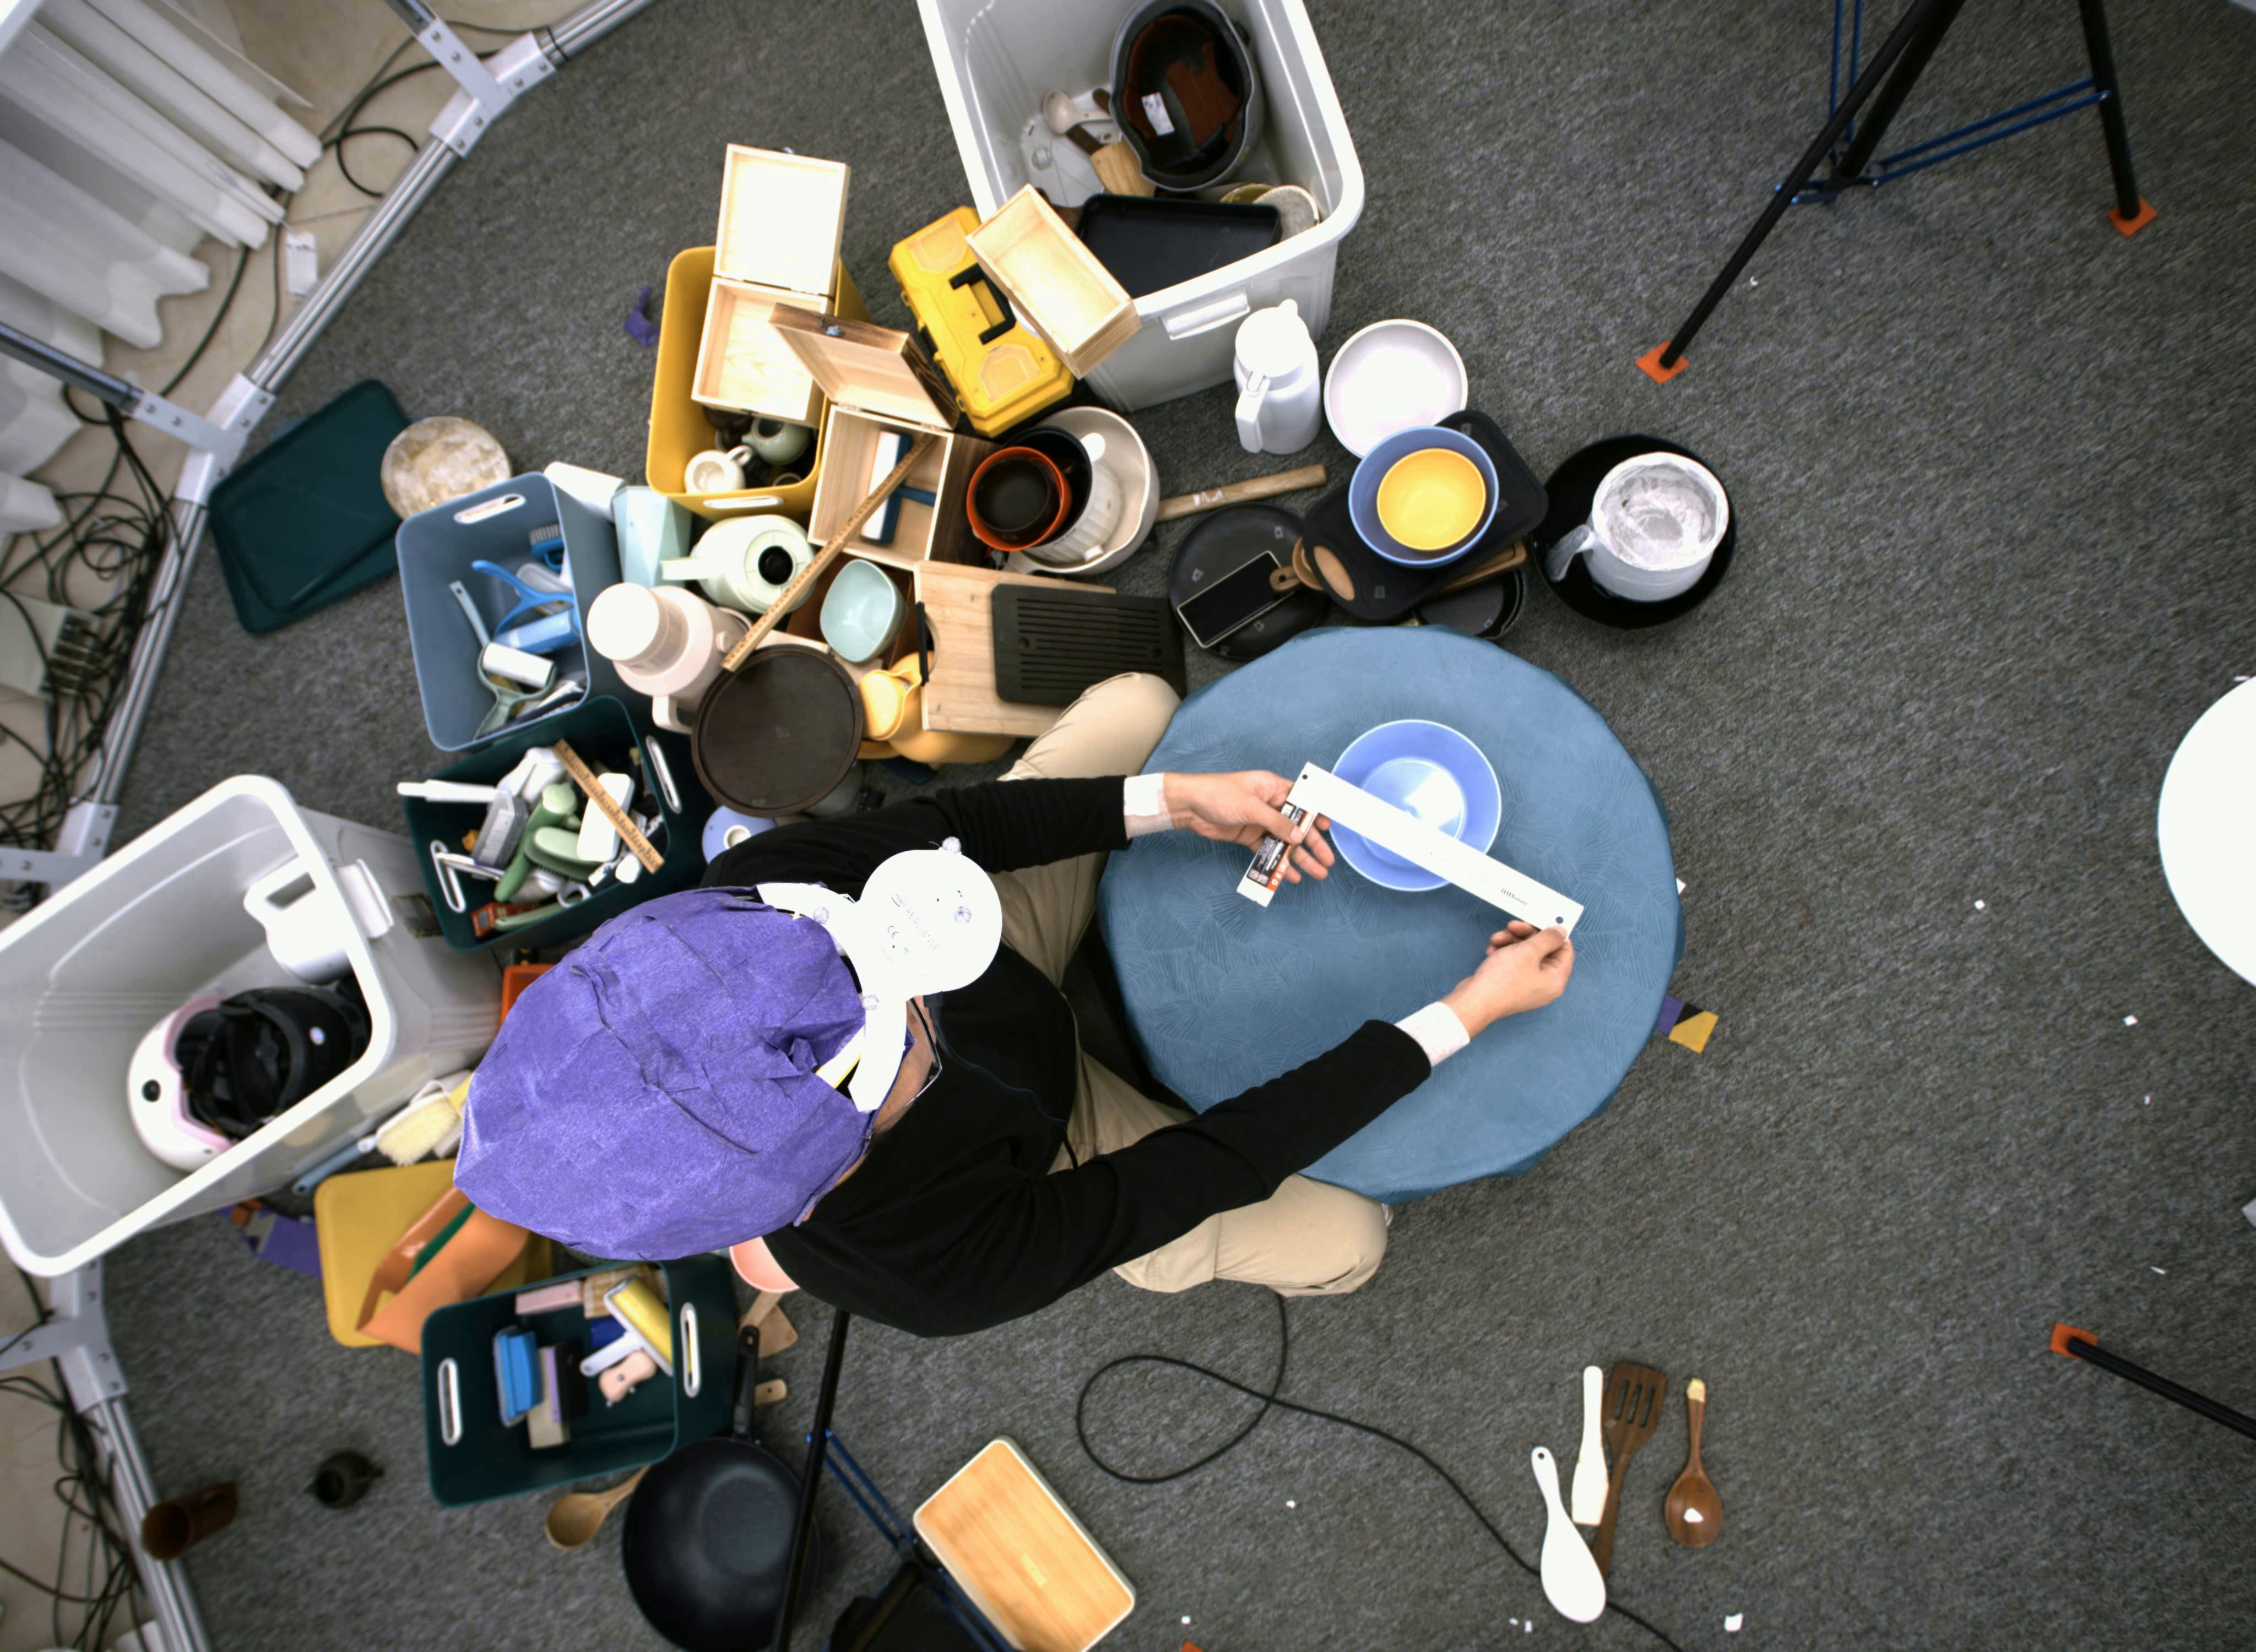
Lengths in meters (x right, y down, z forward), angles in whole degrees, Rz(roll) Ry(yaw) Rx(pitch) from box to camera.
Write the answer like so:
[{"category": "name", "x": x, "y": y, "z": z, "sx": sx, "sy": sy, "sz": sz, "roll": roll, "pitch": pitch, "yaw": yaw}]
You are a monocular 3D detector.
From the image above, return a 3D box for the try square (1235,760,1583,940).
[{"category": "try square", "x": 0.278, "y": 0.068, "z": 1.378, "sx": 0.312, "sy": 0.016, "sz": 0.152, "roll": 28, "pitch": 90, "yaw": 8}]

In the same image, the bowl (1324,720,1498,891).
[{"category": "bowl", "x": 0.291, "y": -0.019, "z": 1.426, "sx": 0.177, "sy": 0.070, "sz": 0.175, "roll": -1, "pitch": 86, "yaw": 10}]
